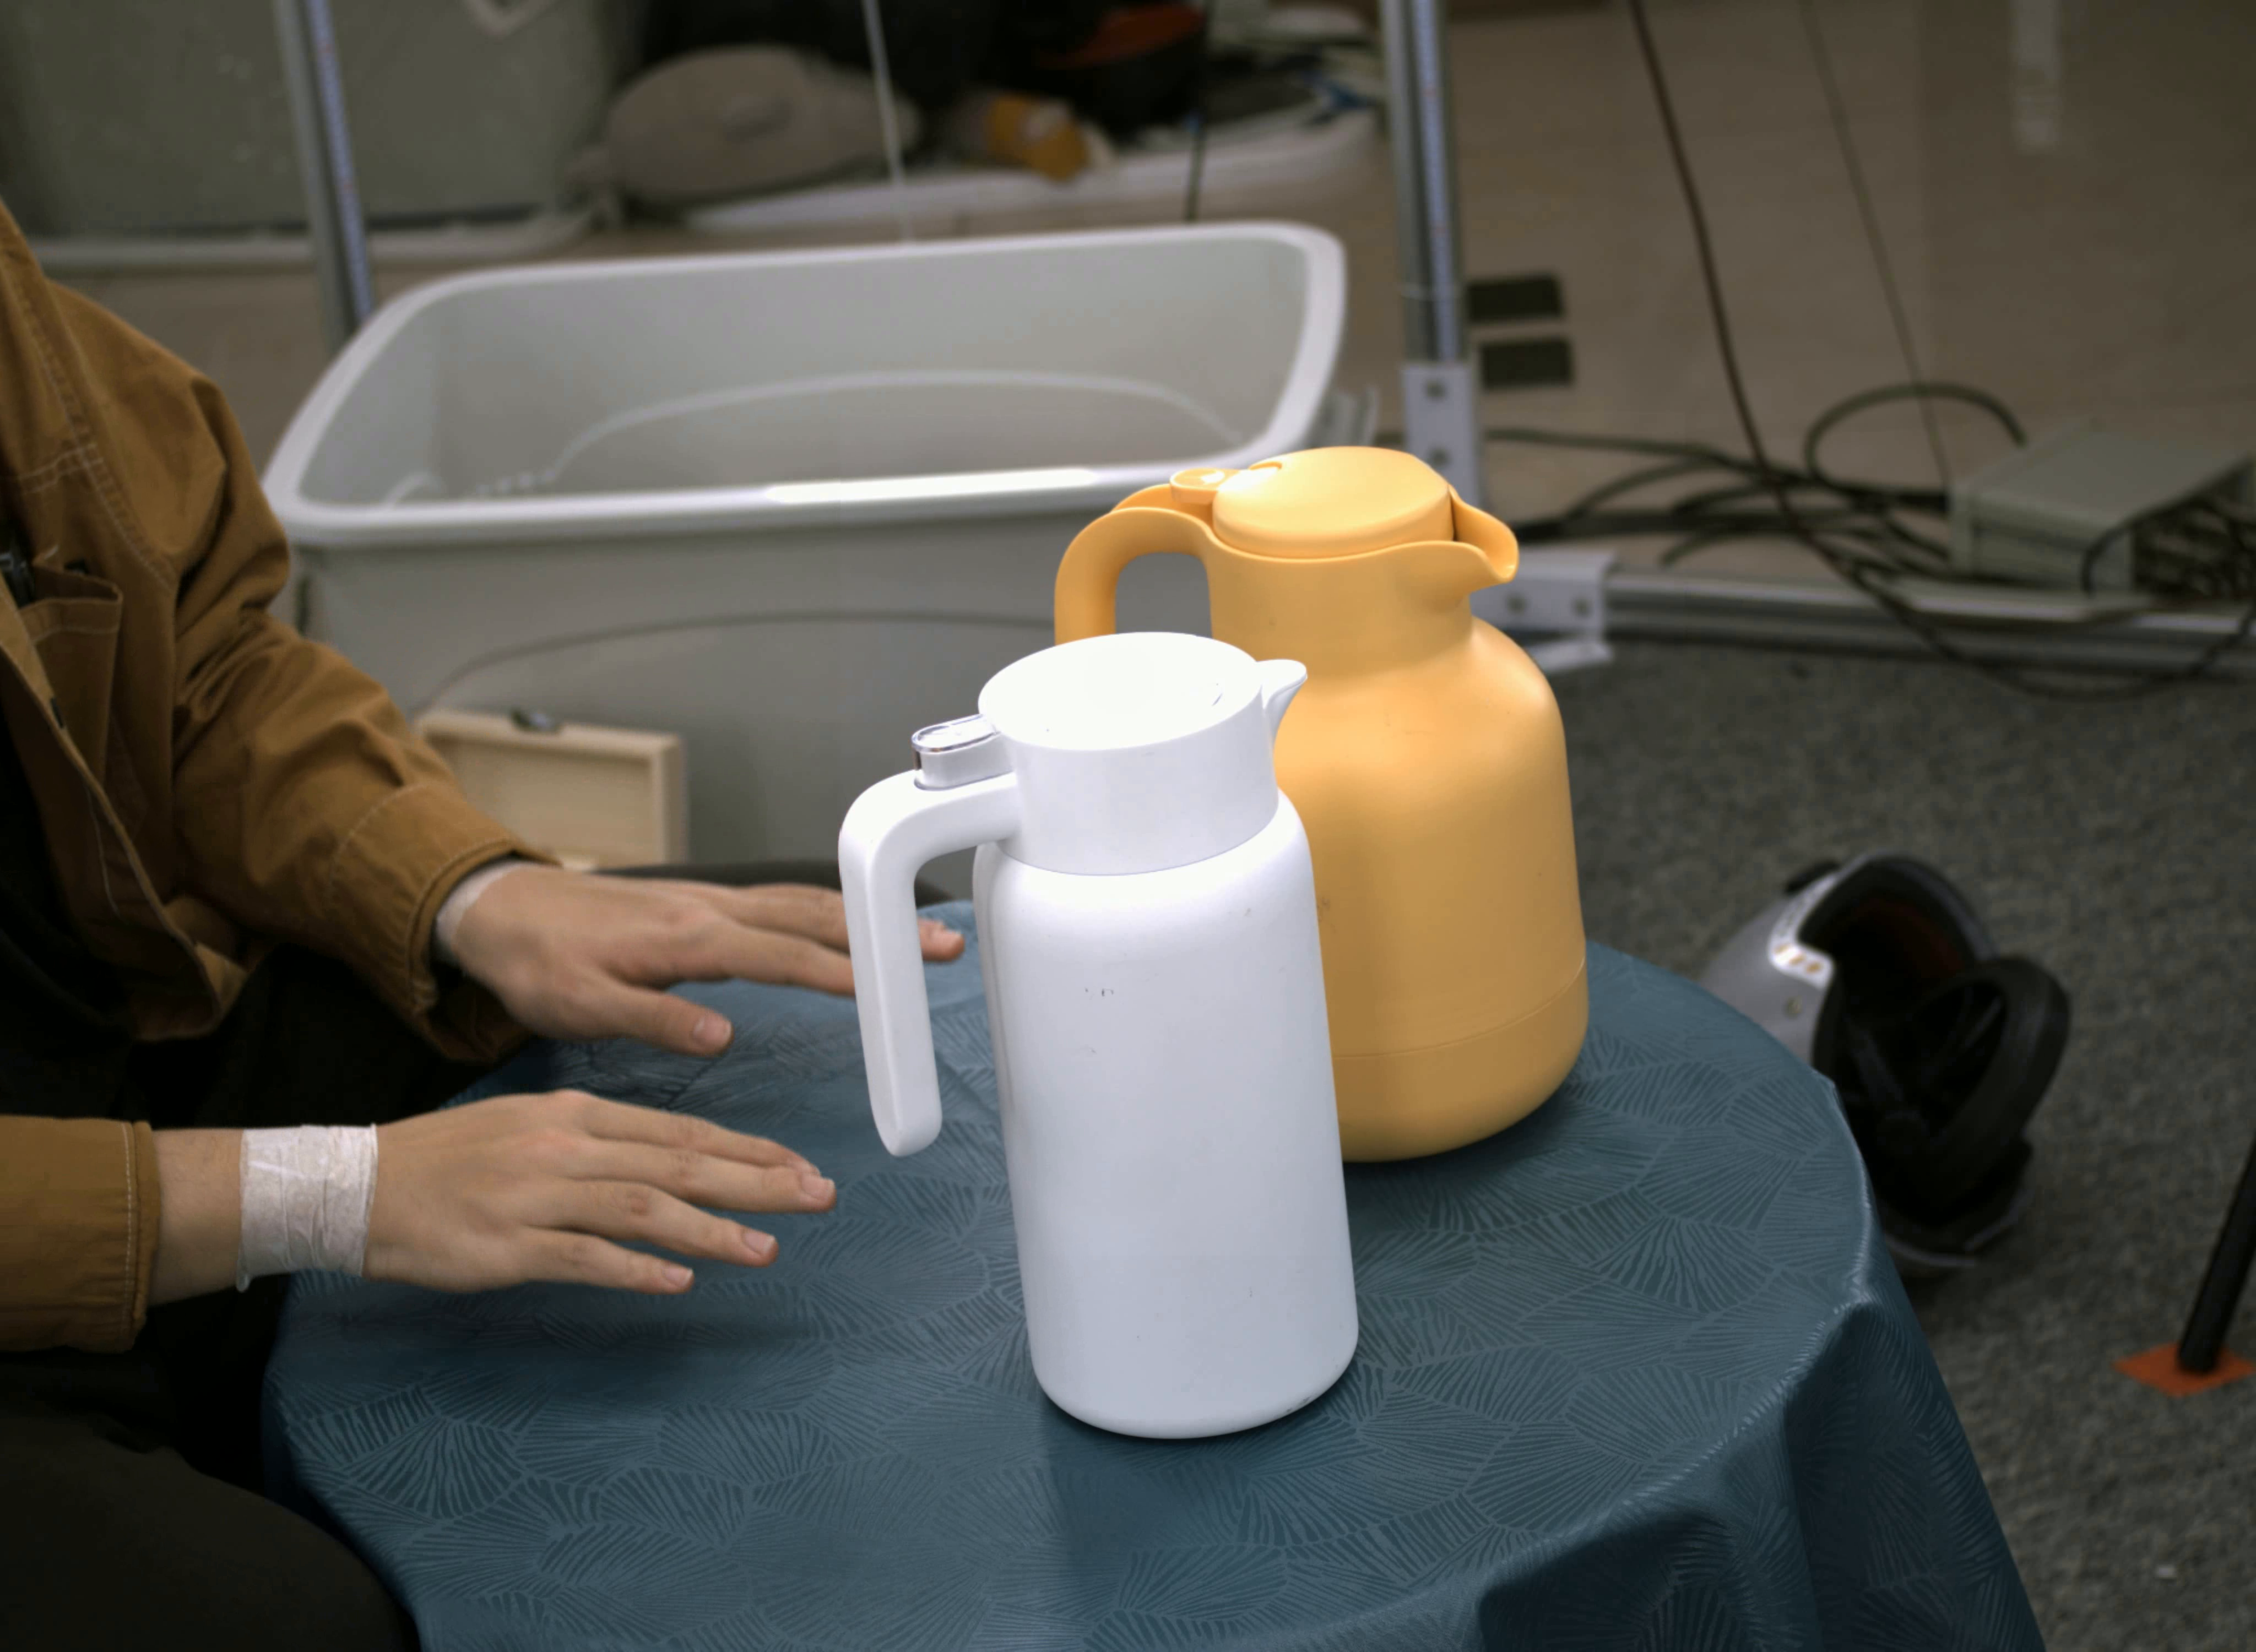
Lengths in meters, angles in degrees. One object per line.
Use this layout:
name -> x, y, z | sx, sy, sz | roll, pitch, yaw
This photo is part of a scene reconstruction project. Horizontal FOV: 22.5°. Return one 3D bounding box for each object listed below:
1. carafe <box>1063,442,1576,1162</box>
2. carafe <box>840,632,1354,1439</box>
carafe -> 0.070, -0.017, 2.151 | 0.201, 0.264, 0.162 | 12, 28, 31
carafe -> -0.005, 0.077, 1.962 | 0.172, 0.273, 0.122 | -16, 29, -19
